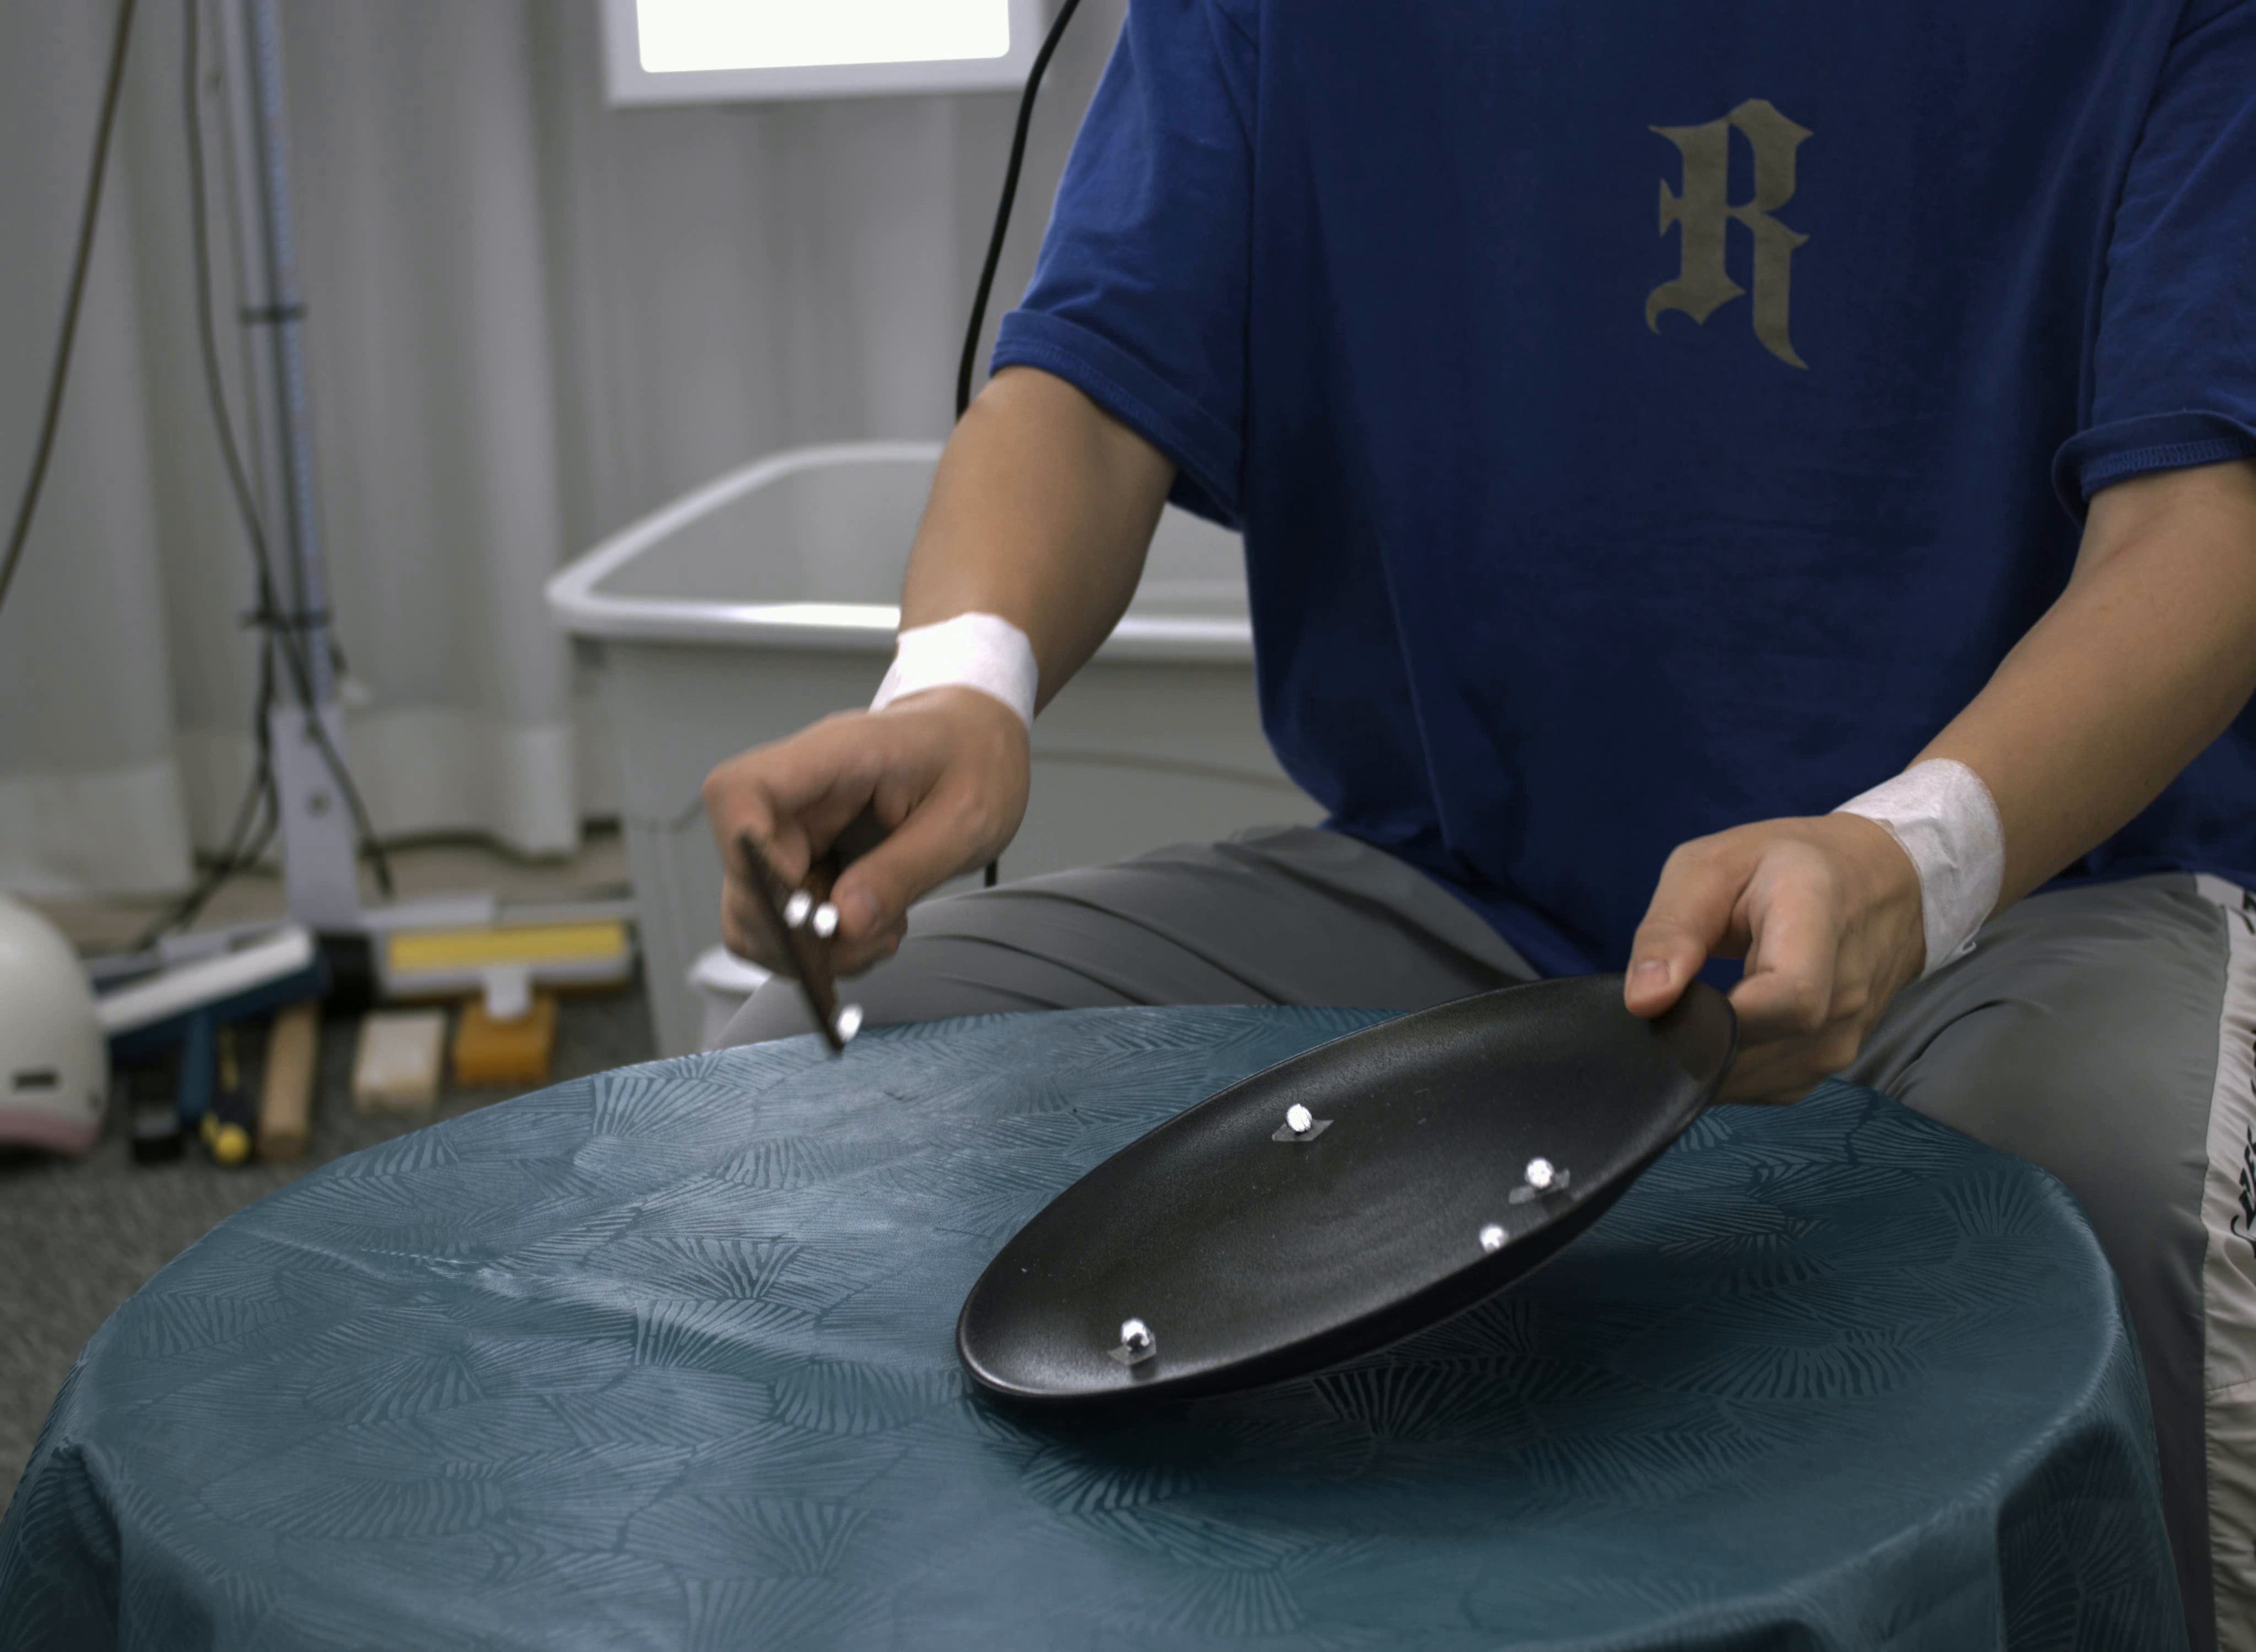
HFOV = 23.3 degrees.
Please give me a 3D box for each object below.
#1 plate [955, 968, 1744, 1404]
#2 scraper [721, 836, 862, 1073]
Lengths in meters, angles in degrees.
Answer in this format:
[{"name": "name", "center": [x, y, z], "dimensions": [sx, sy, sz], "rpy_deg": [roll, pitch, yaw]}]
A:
[{"name": "plate", "center": [0.065, 0.107, 1.561], "dimensions": [0.244, 0.023, 0.246], "rpy_deg": [-23, 14, 6]}, {"name": "scraper", "center": [-0.099, 0.032, 1.700], "dimensions": [0.011, 0.076, 0.211], "rpy_deg": [-26, 3, 4]}]
